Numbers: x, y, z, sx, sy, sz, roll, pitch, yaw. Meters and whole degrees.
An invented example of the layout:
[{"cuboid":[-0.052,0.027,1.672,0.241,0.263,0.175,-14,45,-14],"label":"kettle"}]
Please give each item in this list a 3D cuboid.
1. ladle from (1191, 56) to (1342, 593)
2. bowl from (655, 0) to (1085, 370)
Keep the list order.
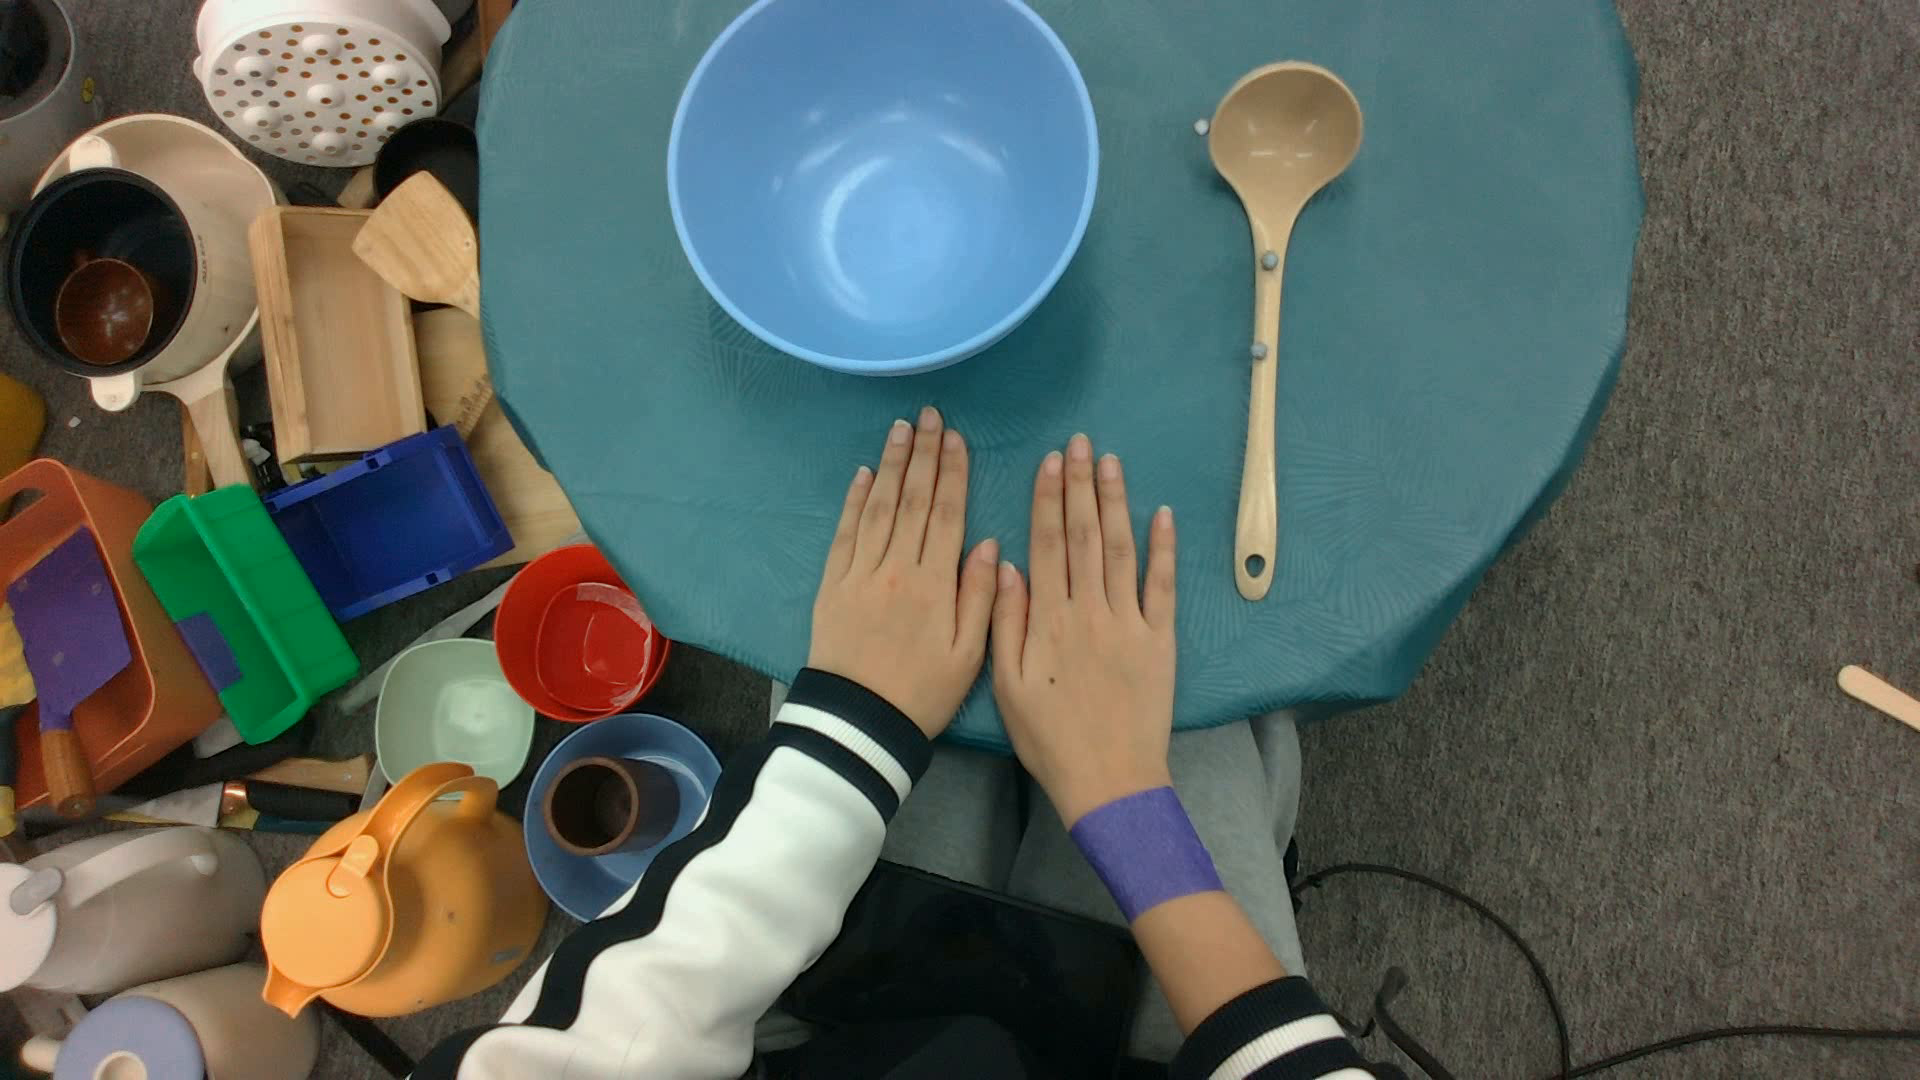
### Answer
[{"cuboid":[0.145,-0.105,0.658,0.072,0.073,0.255,2,80,5],"label":"ladle"},{"cuboid":[-0.040,-0.168,0.671,0.196,0.095,0.197,0,81,1],"label":"bowl"}]
